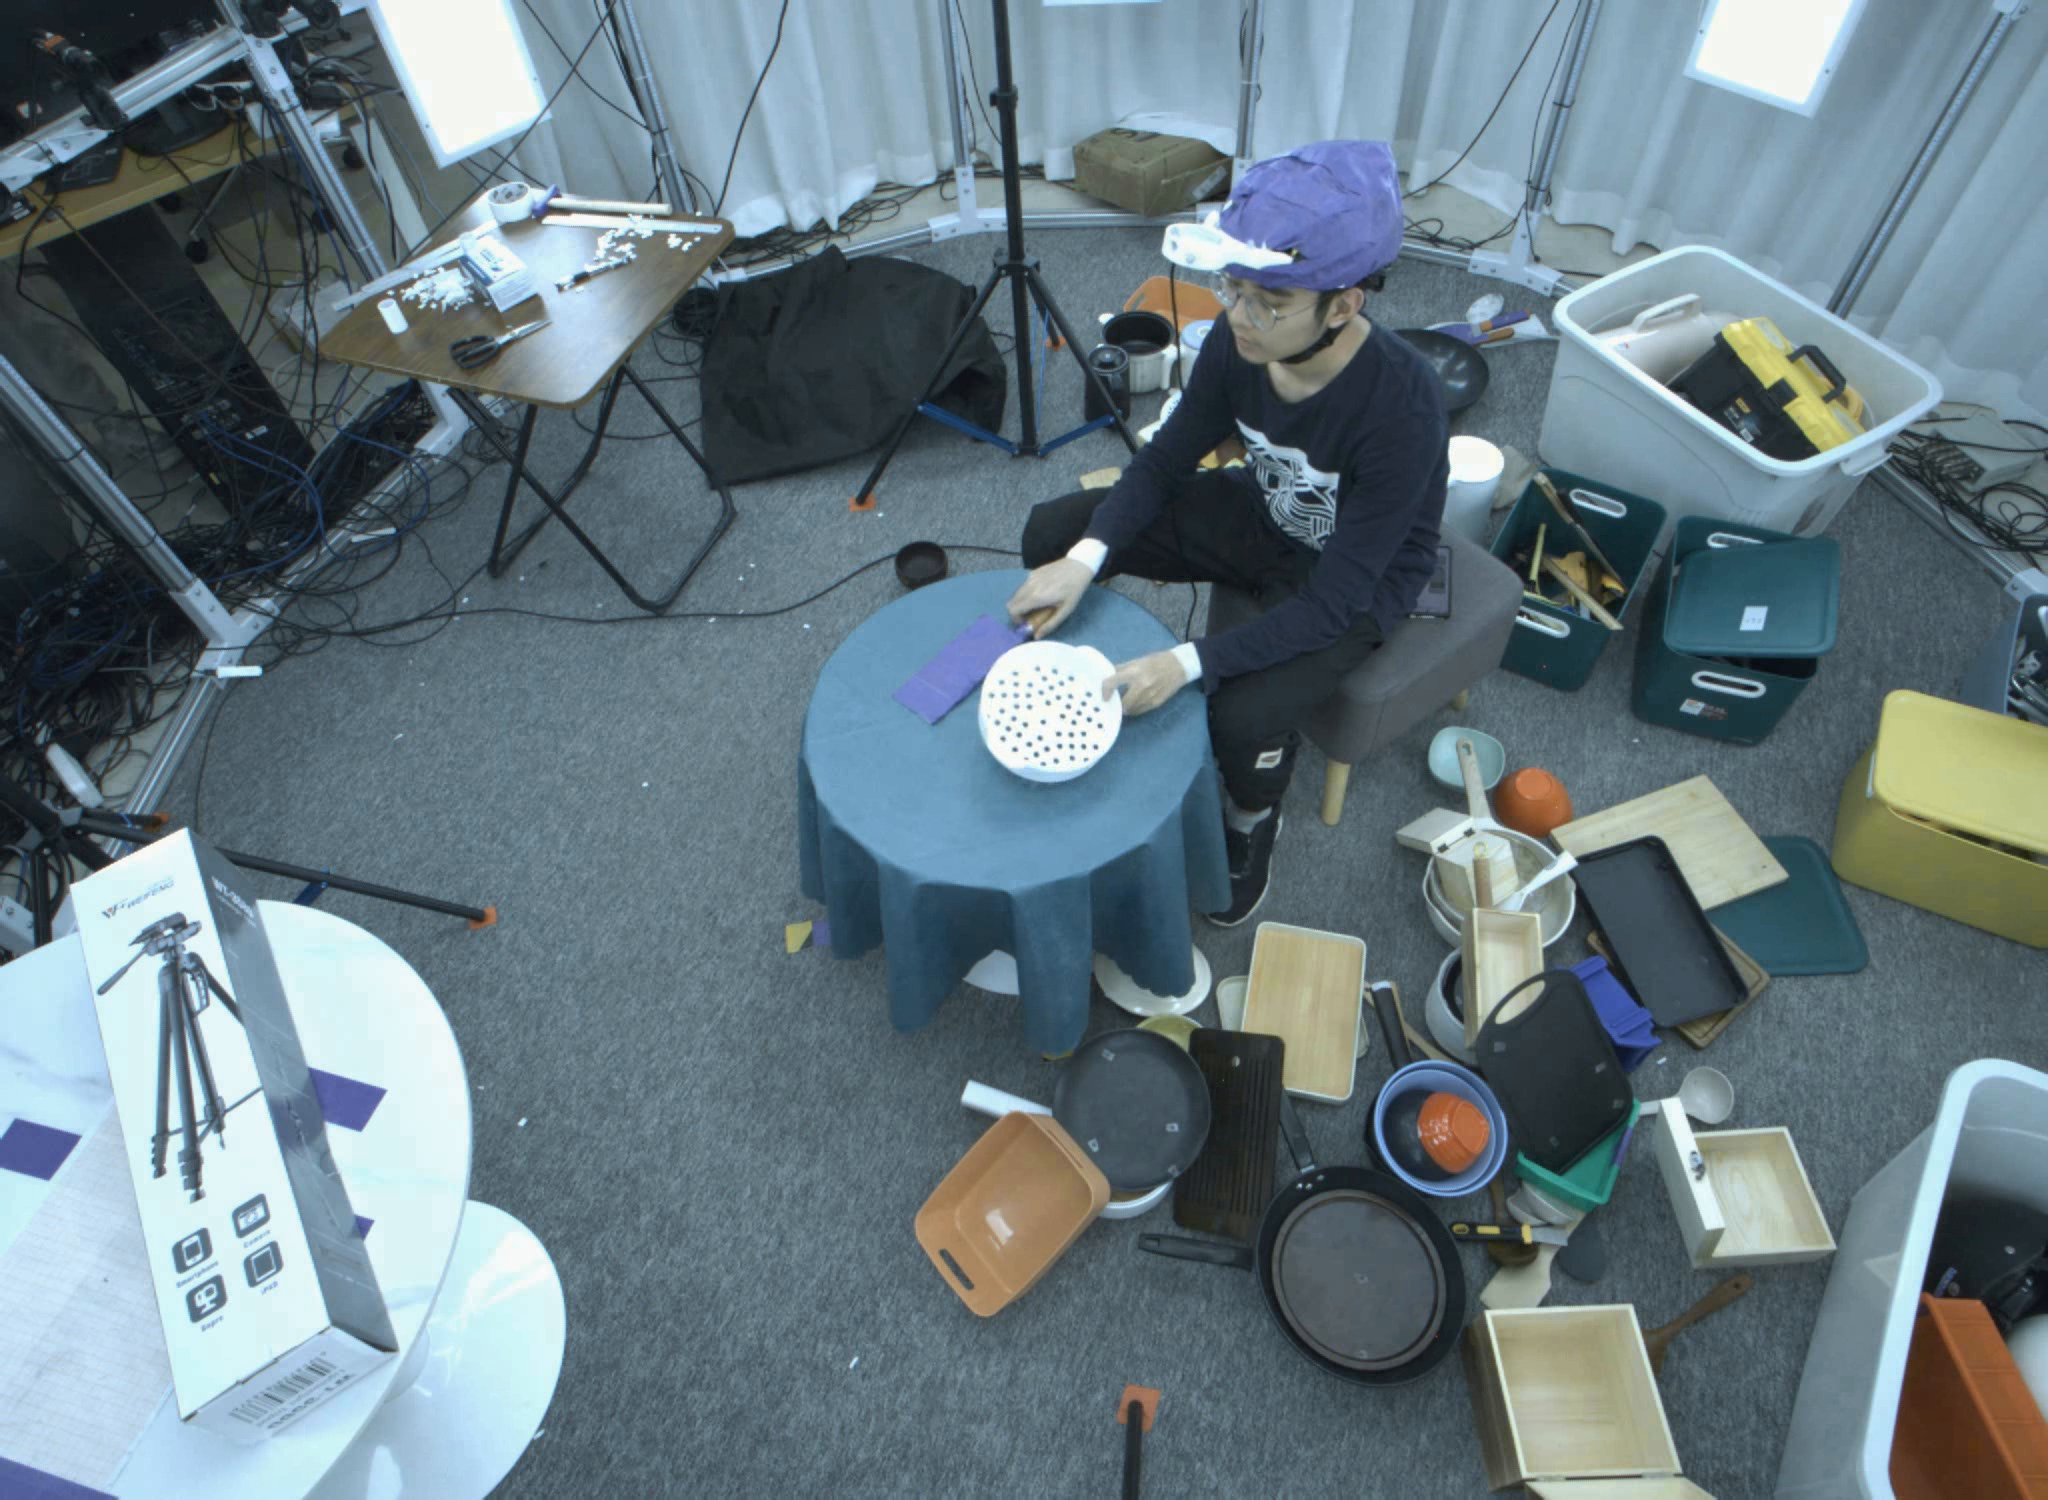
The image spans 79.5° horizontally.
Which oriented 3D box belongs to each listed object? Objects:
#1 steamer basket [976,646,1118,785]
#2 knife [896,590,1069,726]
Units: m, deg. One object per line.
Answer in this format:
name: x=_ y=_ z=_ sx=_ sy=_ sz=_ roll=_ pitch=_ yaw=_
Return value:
steamer basket: x=0.030 y=-0.047 z=1.761 sx=0.201 sy=0.069 sz=0.232 roll=43 pitch=62 yaw=6
knife: x=-0.065 y=-0.161 z=1.894 sx=0.102 sy=0.032 sz=0.317 roll=36 pitch=63 yaw=24
